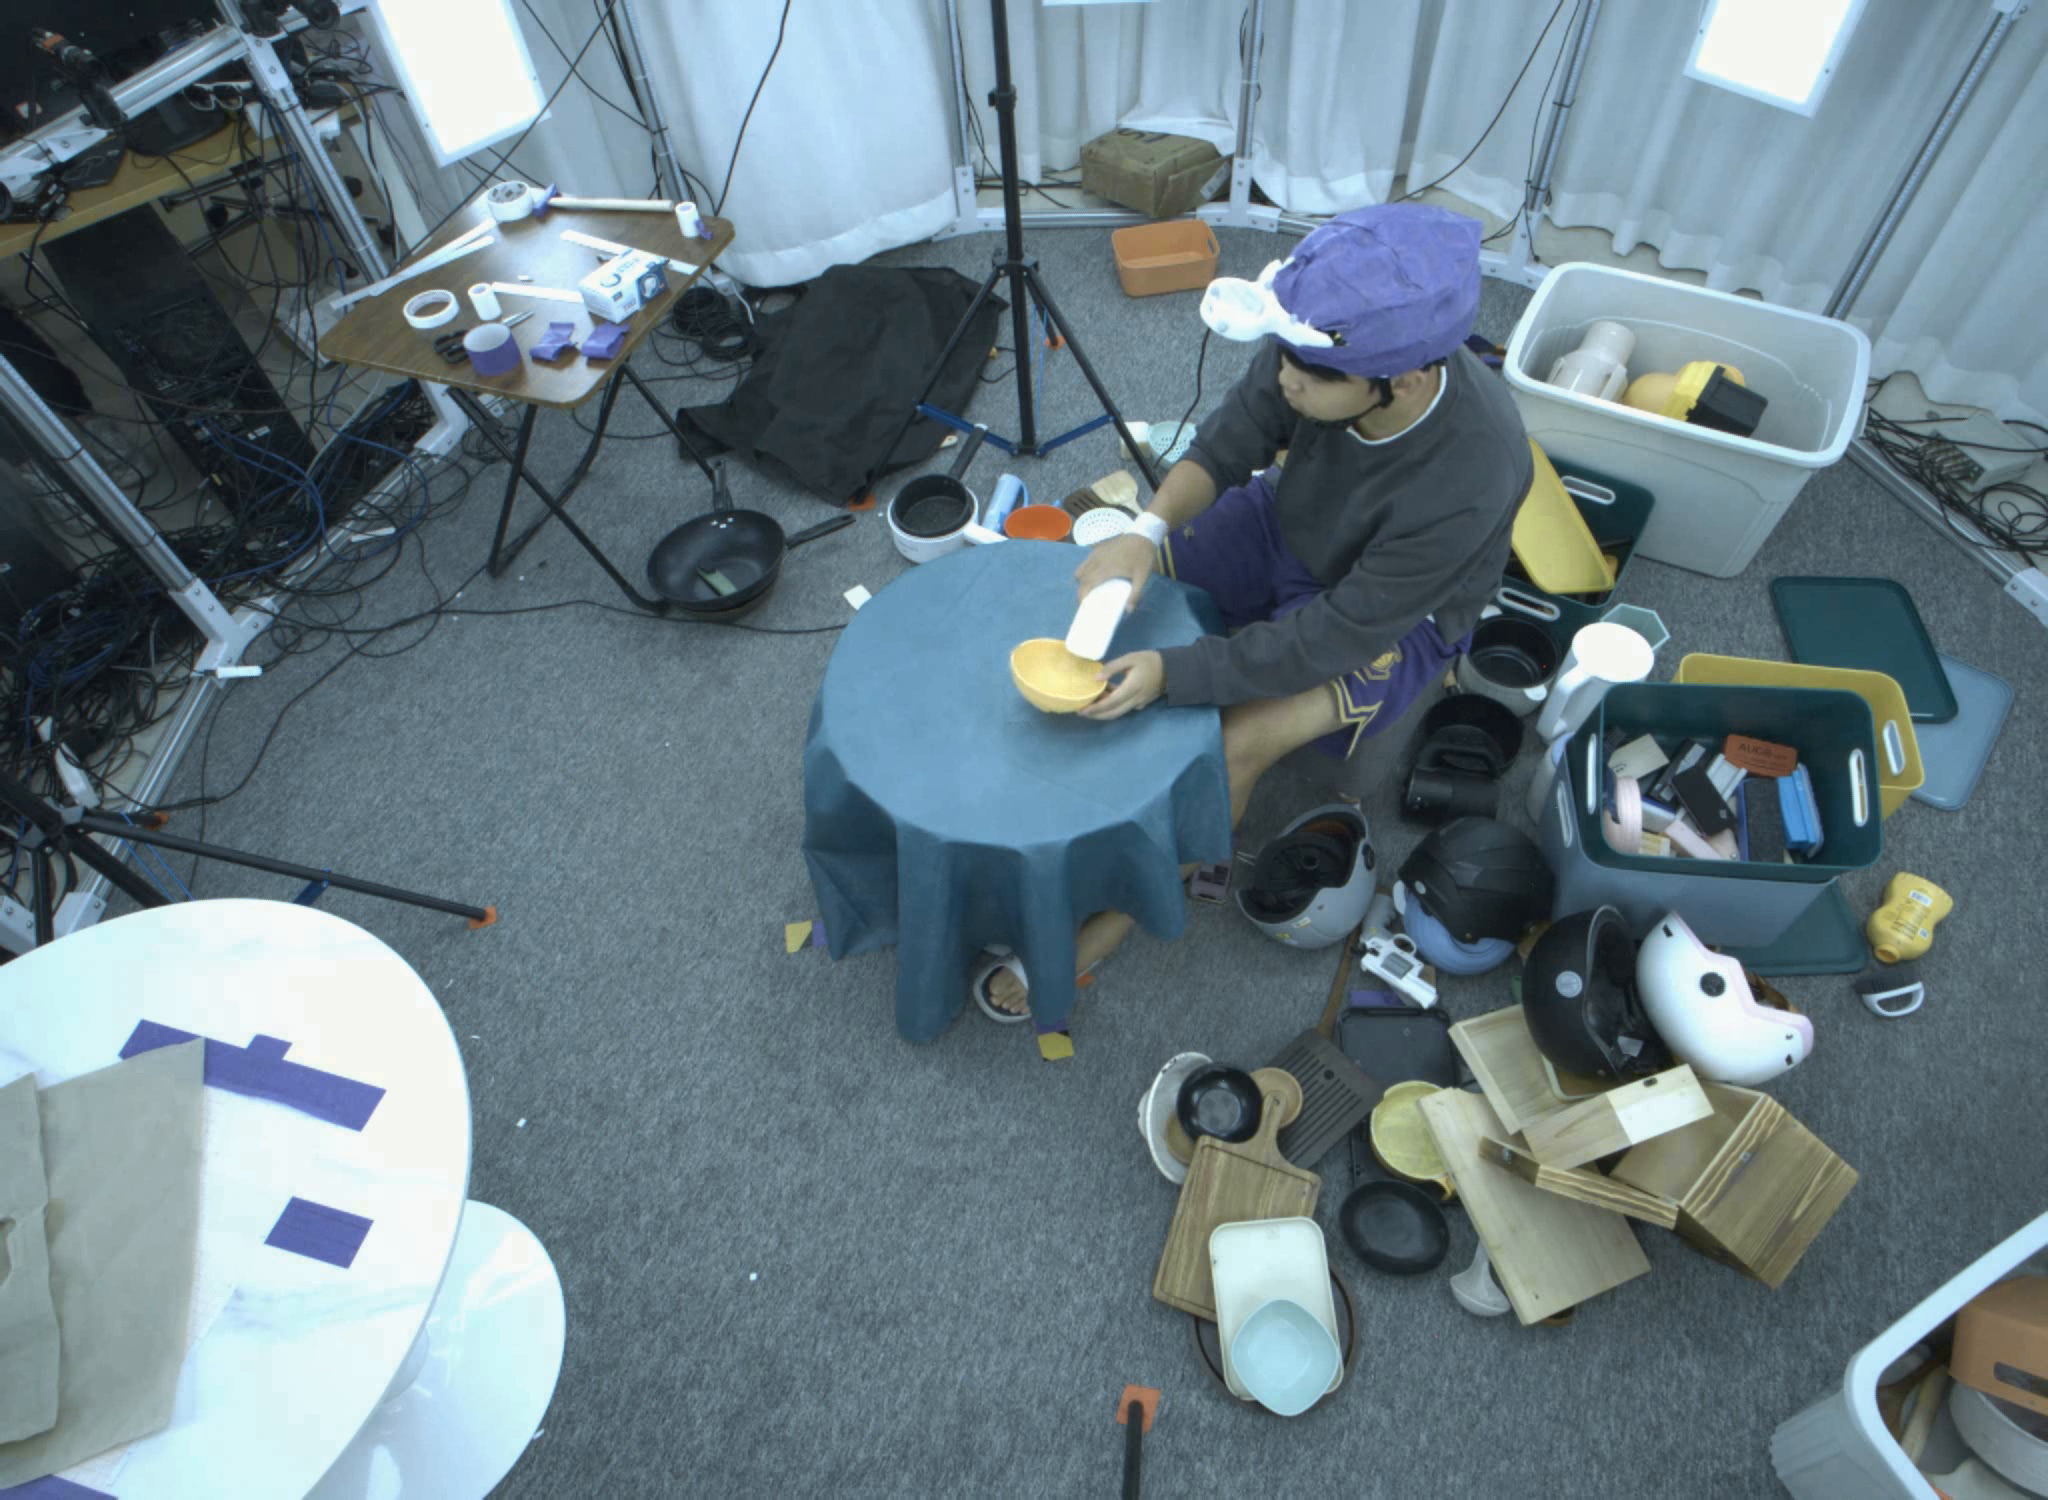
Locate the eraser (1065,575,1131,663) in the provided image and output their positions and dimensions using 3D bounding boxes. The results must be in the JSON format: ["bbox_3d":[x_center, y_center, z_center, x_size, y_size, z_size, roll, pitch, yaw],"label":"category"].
[{"bbox_3d":[0.112,-0.195,1.825,0.062,0.035,0.131,21,78,18],"label":"eraser"}]

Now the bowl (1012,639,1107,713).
[{"bbox_3d":[0.044,-0.097,1.802,0.146,0.060,0.144,14,38,-10],"label":"bowl"}]
